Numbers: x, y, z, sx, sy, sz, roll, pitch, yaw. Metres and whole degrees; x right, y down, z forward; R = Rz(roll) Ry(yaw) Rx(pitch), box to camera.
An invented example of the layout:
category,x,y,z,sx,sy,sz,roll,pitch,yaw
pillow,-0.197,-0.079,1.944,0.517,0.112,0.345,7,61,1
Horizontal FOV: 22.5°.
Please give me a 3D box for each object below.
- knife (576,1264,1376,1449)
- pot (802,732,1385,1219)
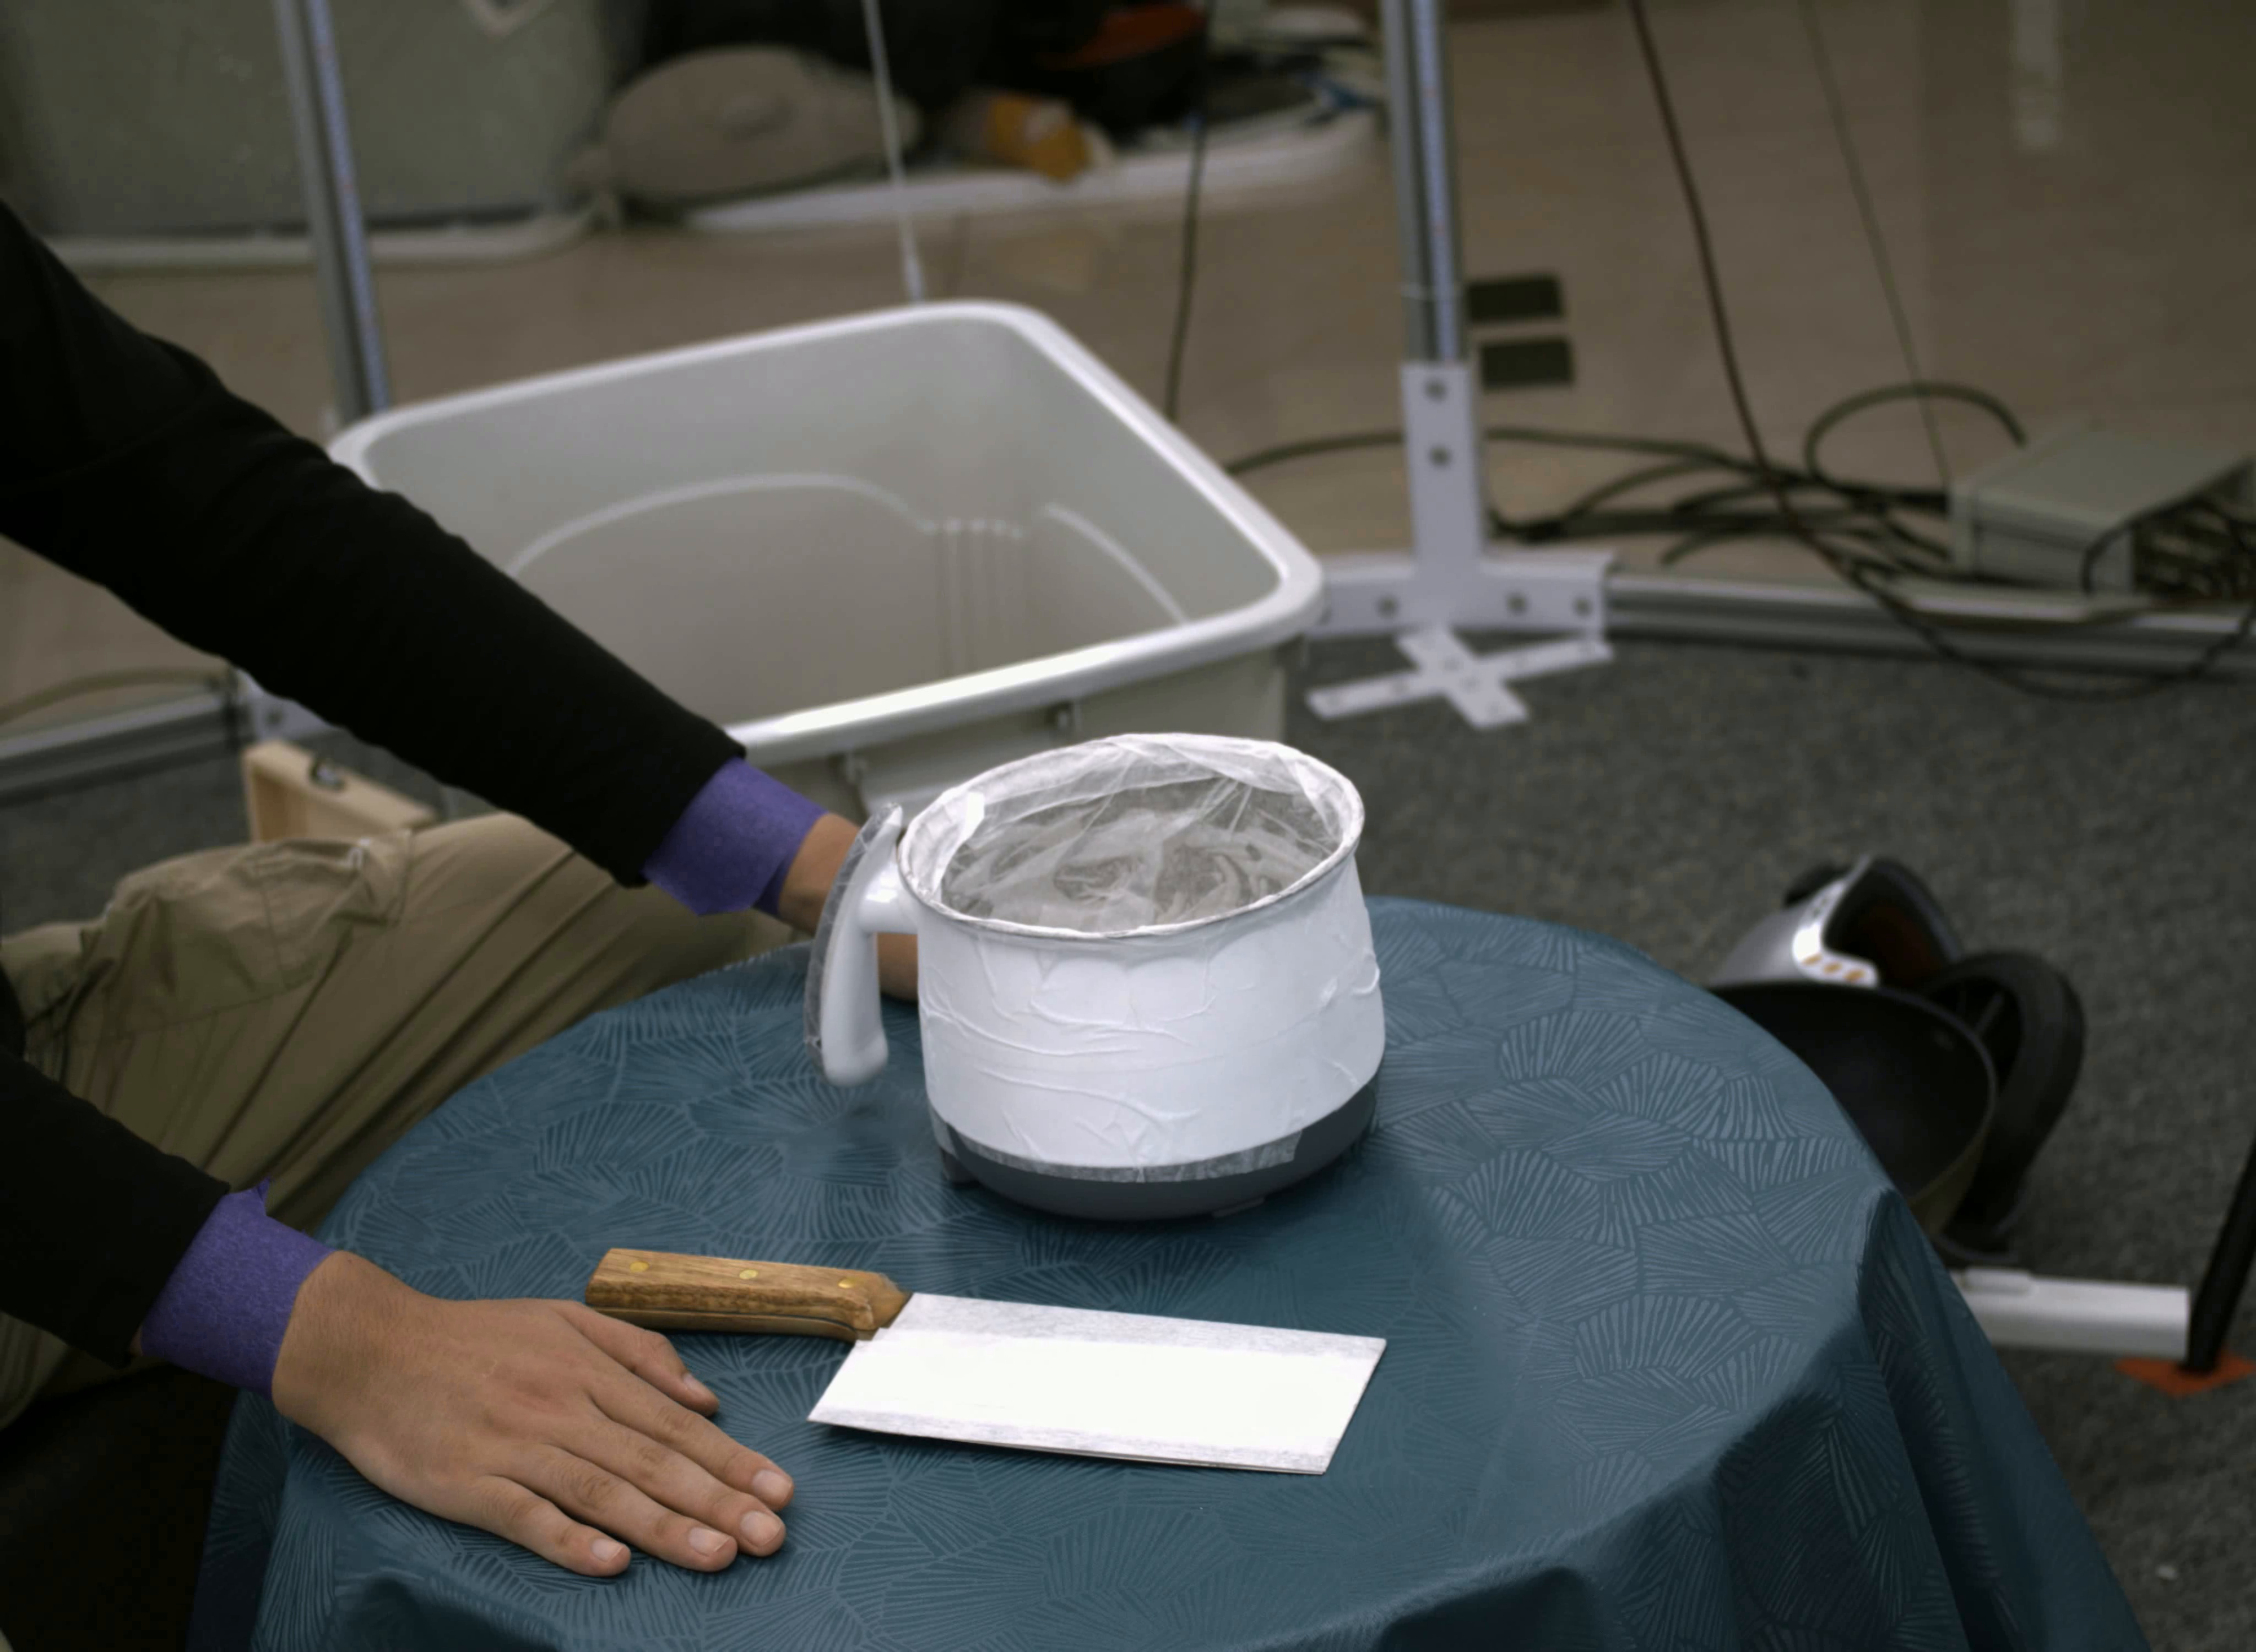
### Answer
category,x,y,z,sx,sy,sz,roll,pitch,yaw
knife,-0.064,0.193,2.035,0.305,0.021,0.091,4,26,17
pot,-0.018,0.056,2.163,0.233,0.139,0.176,4,27,20
